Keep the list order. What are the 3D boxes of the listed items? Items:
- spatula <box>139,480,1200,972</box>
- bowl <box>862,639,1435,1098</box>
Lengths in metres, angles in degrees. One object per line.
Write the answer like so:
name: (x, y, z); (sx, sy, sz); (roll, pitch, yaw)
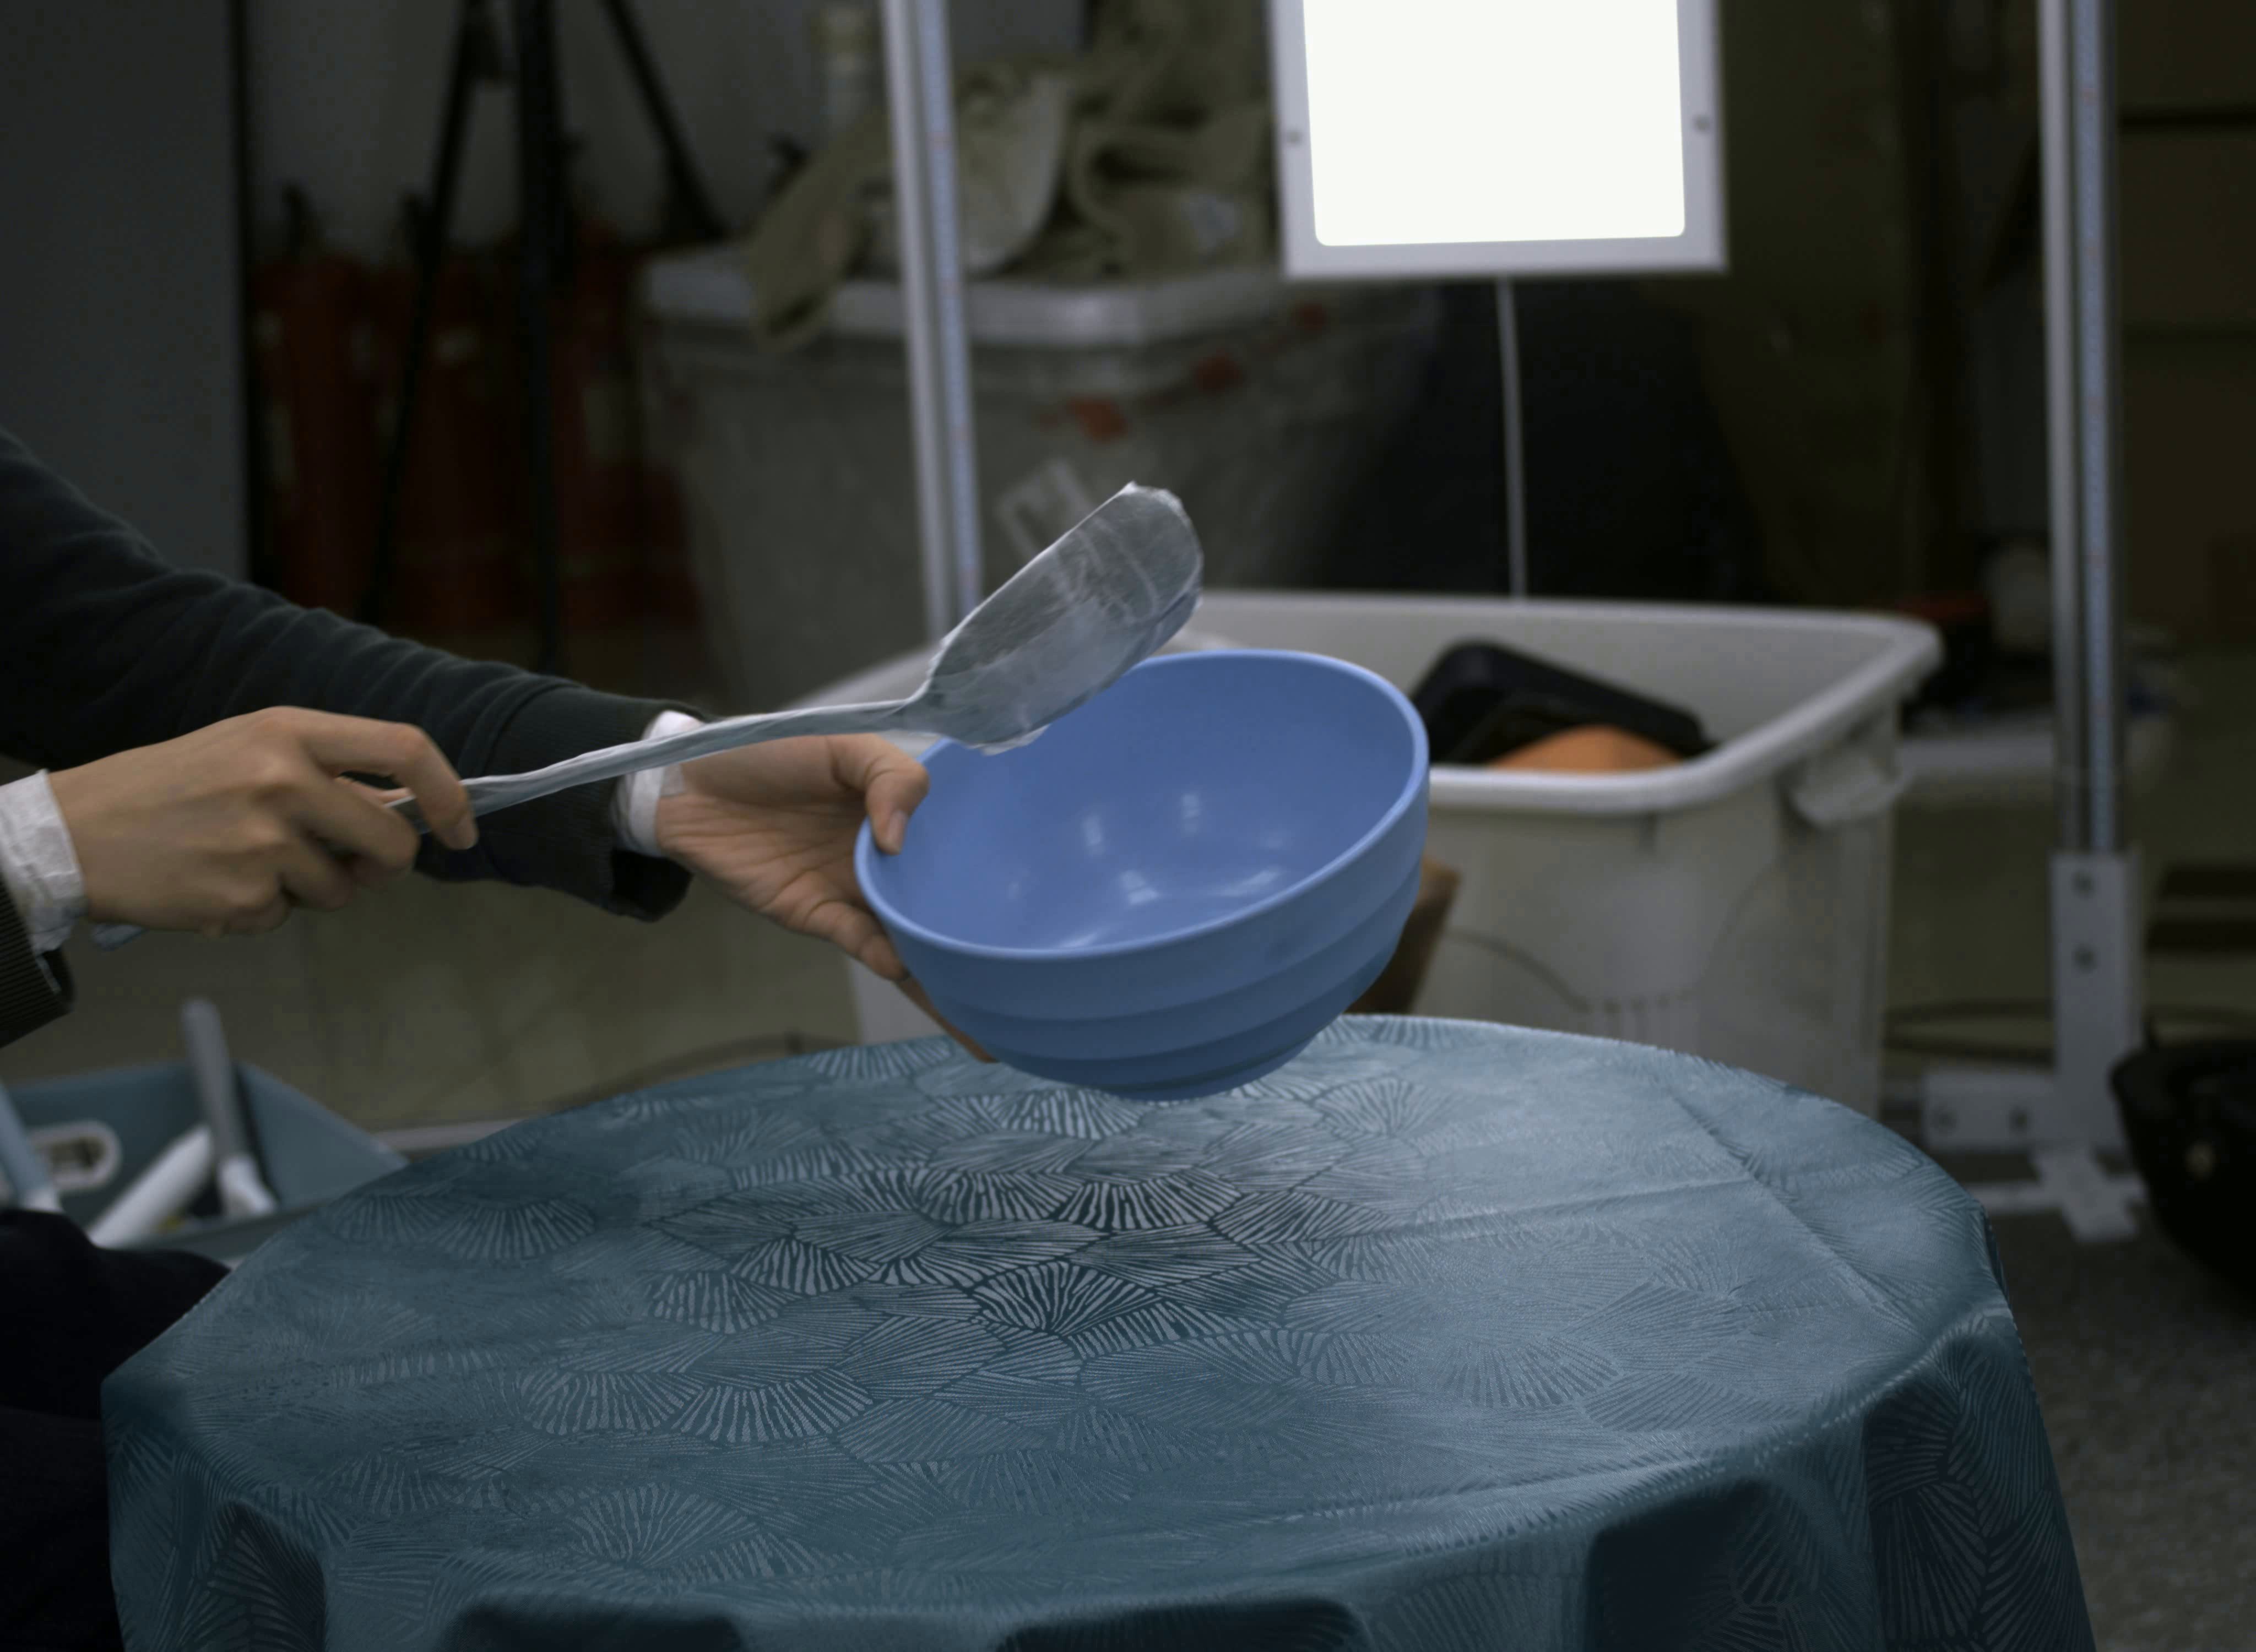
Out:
spatula: (-0.148, -0.026, 1.753); (0.365, 0.045, 0.098); (-16, -26, 5)
bowl: (0.016, 0.027, 1.854); (0.197, 0.095, 0.196); (-12, 30, 6)
